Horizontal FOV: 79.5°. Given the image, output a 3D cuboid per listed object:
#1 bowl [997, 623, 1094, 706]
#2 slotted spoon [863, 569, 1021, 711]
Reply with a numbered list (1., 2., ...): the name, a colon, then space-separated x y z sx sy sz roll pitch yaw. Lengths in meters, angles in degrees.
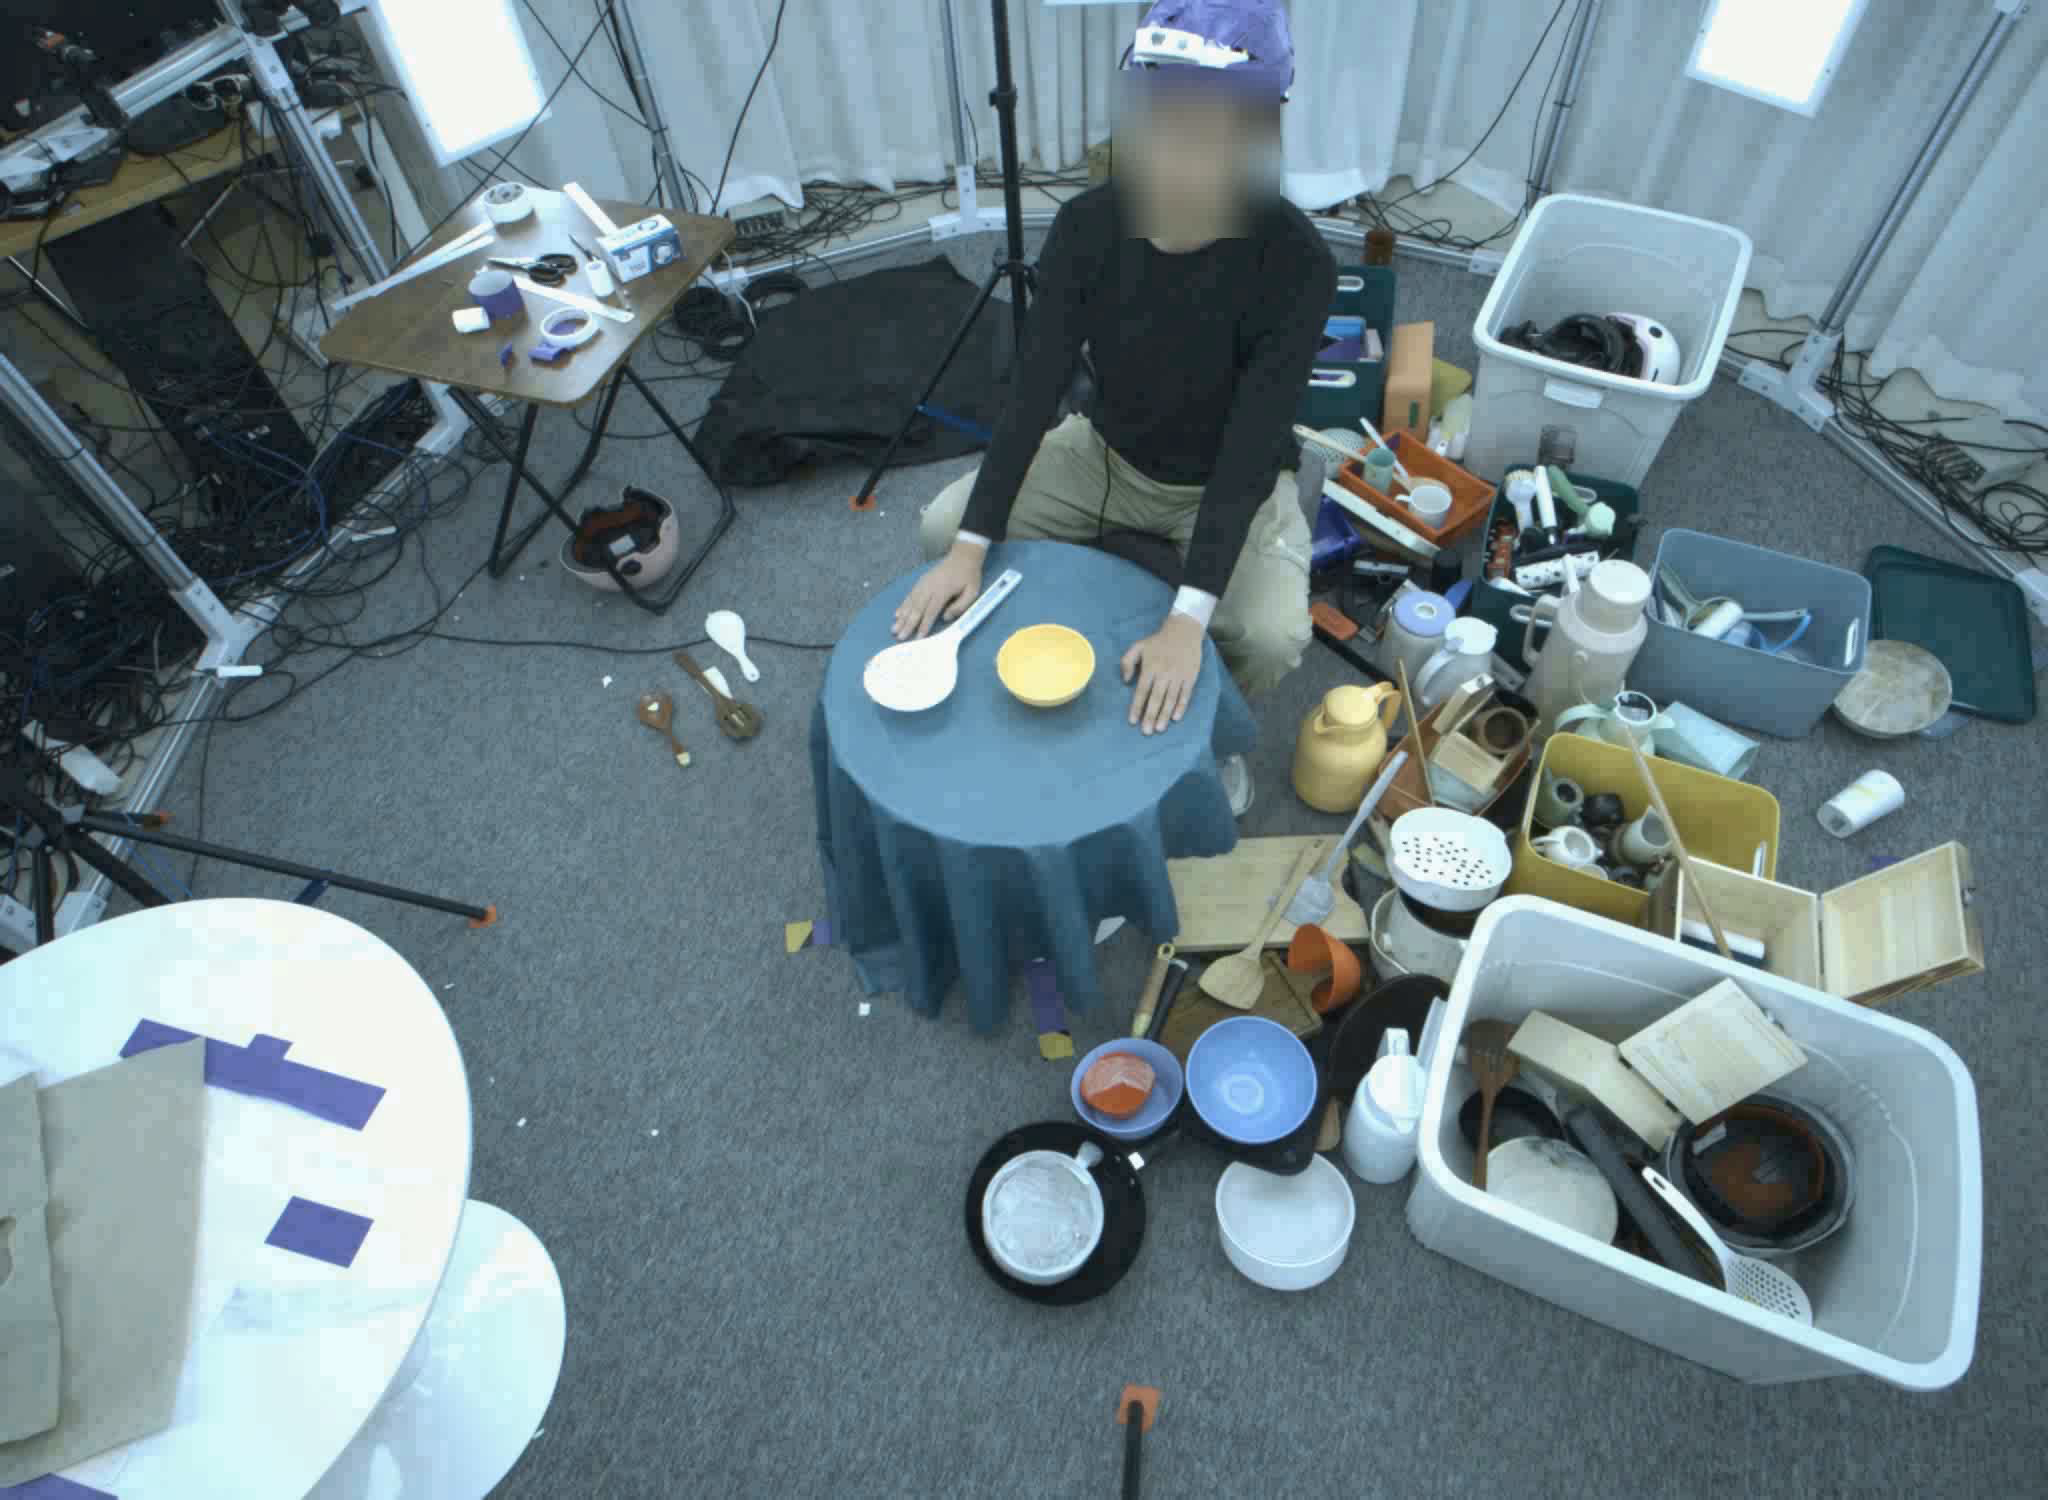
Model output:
1. bowl: 0.032 -0.116 1.834 0.145 0.061 0.144 0 56 1
2. slotted spoon: -0.112 -0.175 1.887 0.134 0.046 0.351 27 59 19
